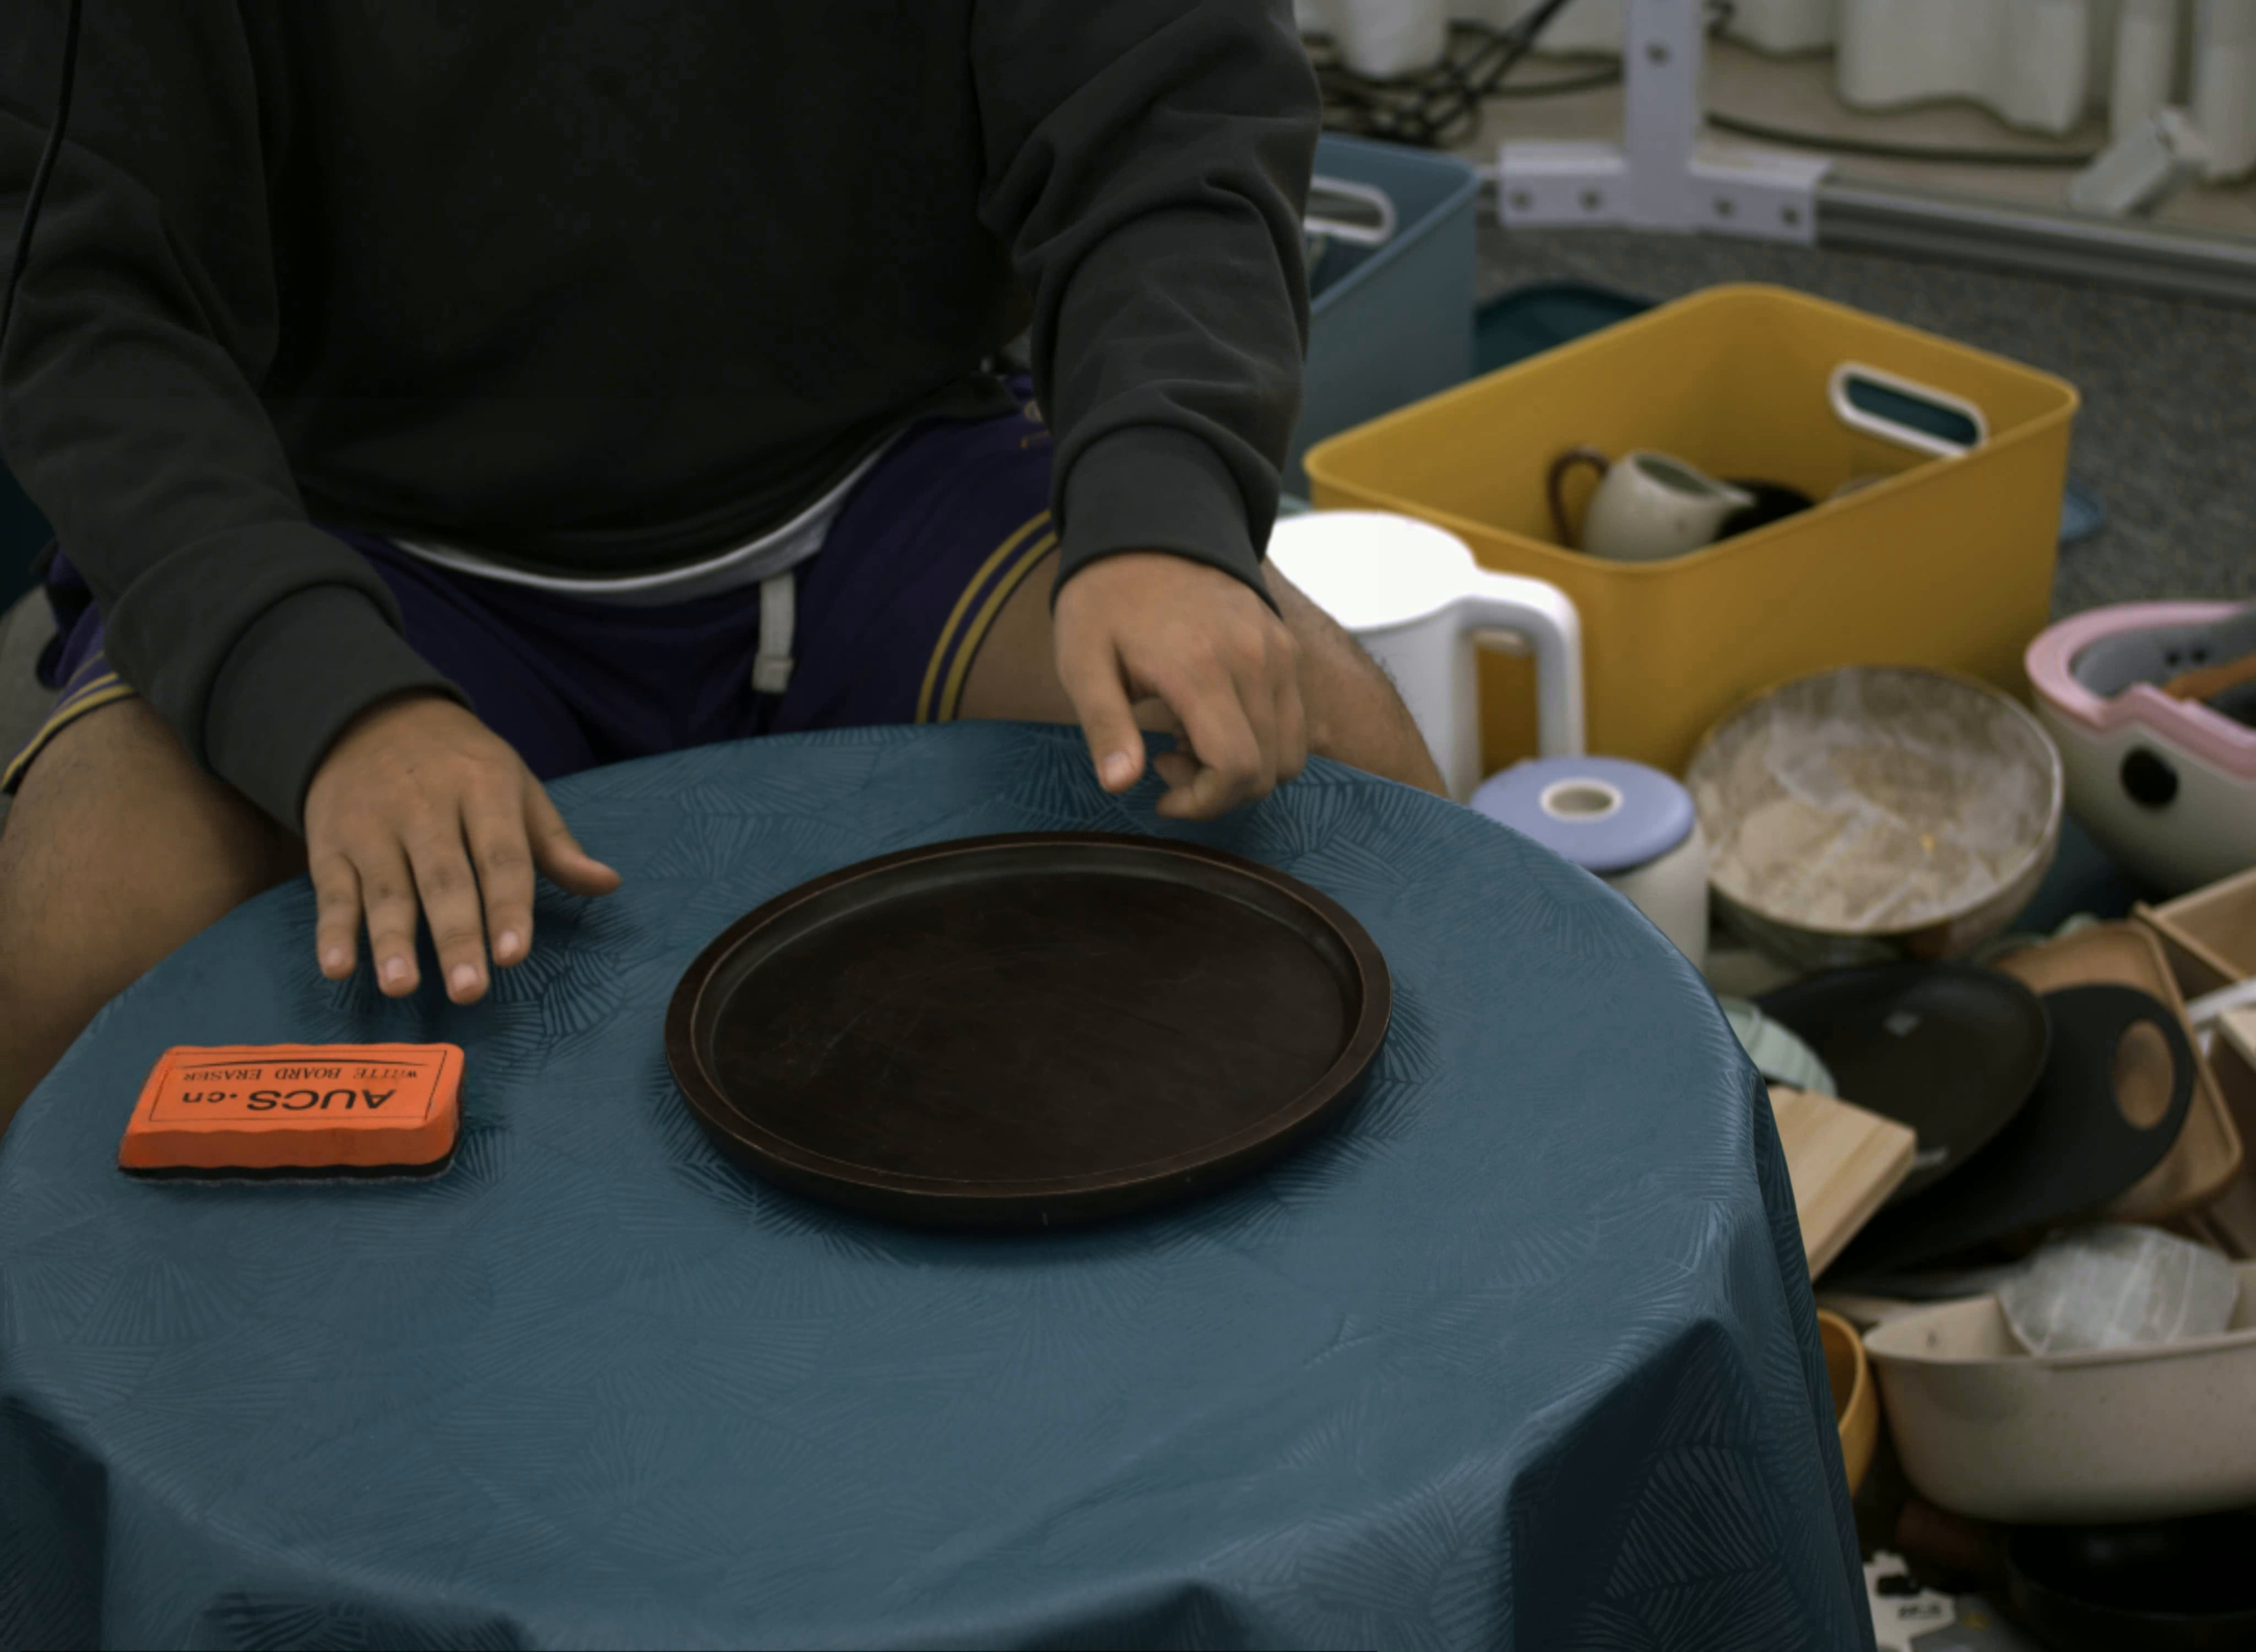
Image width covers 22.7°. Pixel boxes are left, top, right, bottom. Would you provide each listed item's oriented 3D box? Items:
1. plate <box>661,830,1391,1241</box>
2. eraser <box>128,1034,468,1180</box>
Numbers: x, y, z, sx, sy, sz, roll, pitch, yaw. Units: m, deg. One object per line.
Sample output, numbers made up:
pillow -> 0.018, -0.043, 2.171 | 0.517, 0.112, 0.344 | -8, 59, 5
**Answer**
plate -> -0.035, 0.070, 1.941 | 0.253, 0.029, 0.259 | -3, 28, 2
eraser -> -0.281, 0.096, 1.907 | 0.107, 0.022, 0.060 | -2, 27, 4
